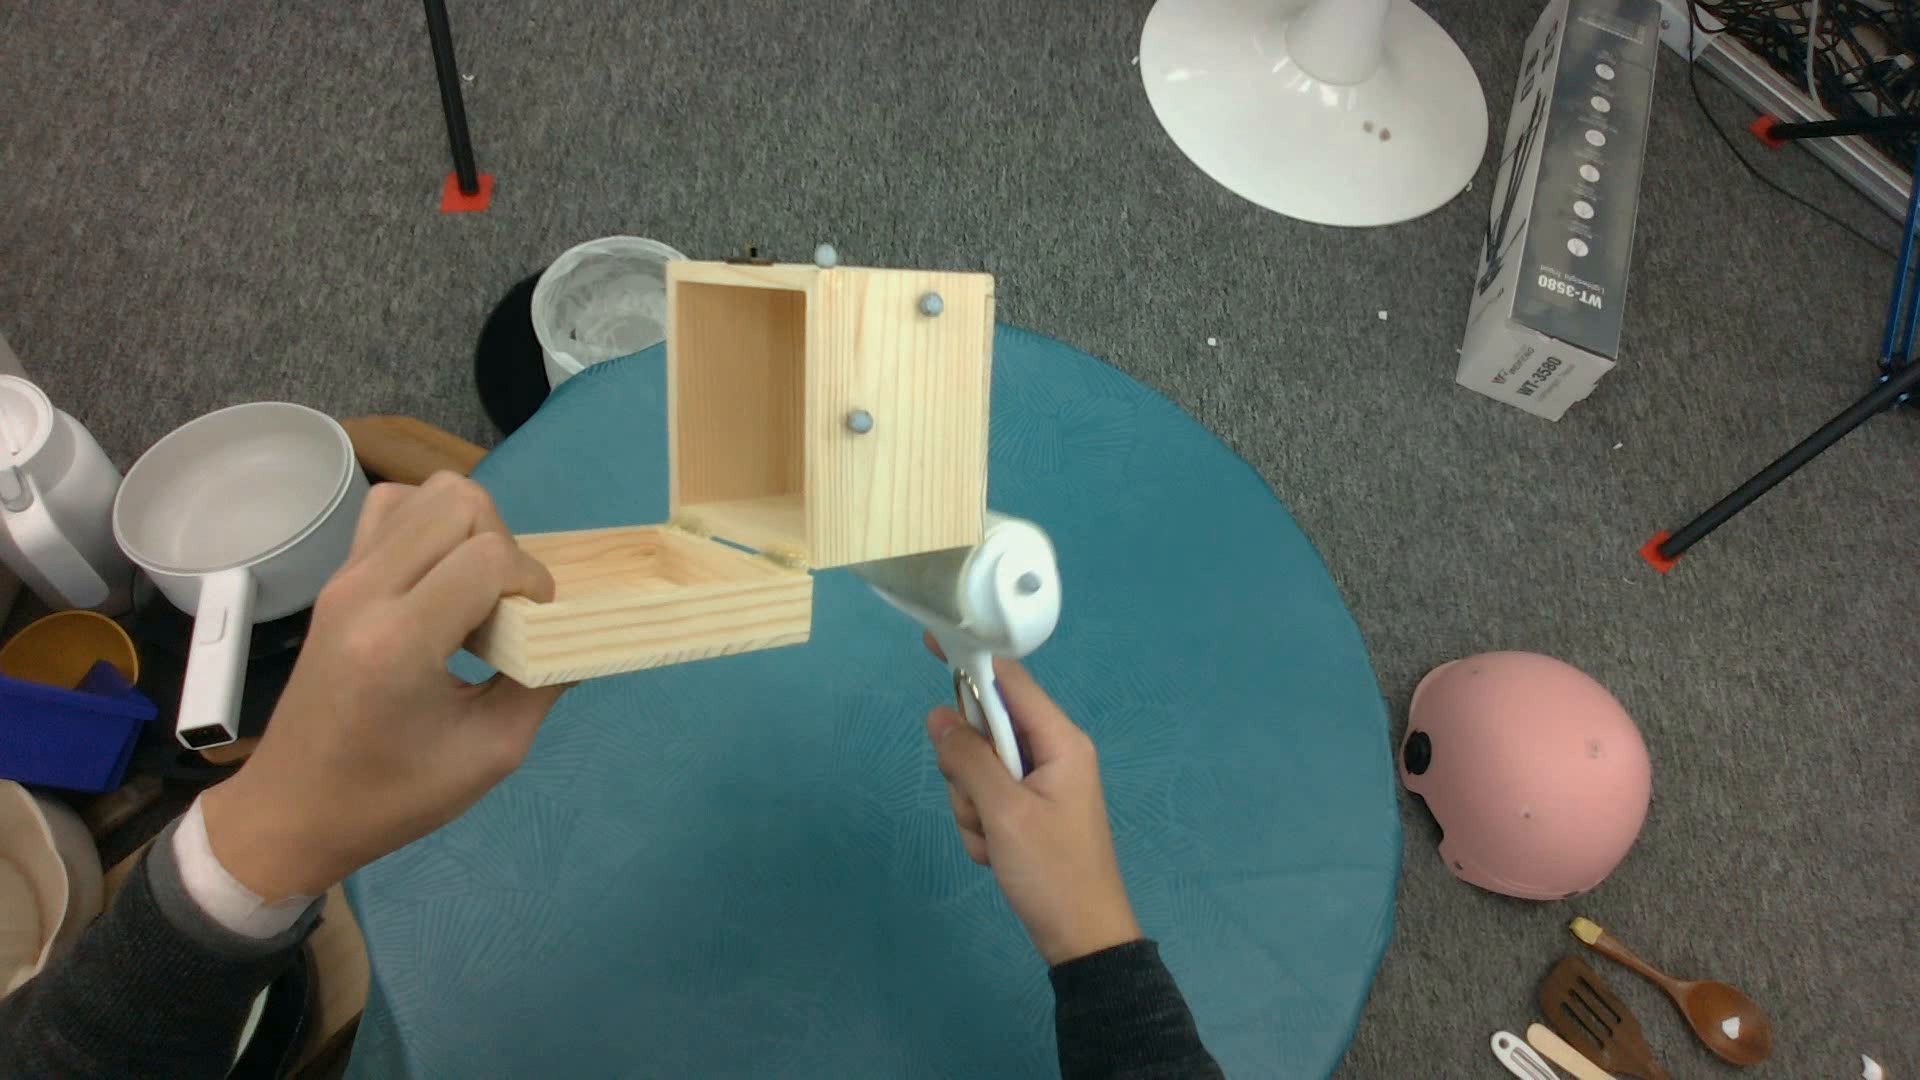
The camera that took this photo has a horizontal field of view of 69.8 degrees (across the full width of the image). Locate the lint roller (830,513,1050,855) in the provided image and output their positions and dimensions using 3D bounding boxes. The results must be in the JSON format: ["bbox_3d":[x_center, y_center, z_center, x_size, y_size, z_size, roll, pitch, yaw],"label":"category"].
[{"bbox_3d":[0.013,0.062,0.610,0.050,0.133,0.180,-36,116,-22],"label":"lint roller"}]

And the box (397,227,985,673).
[{"bbox_3d":[-0.094,-0.042,0.486,0.185,0.102,0.133,-10,107,-40],"label":"box"}]
